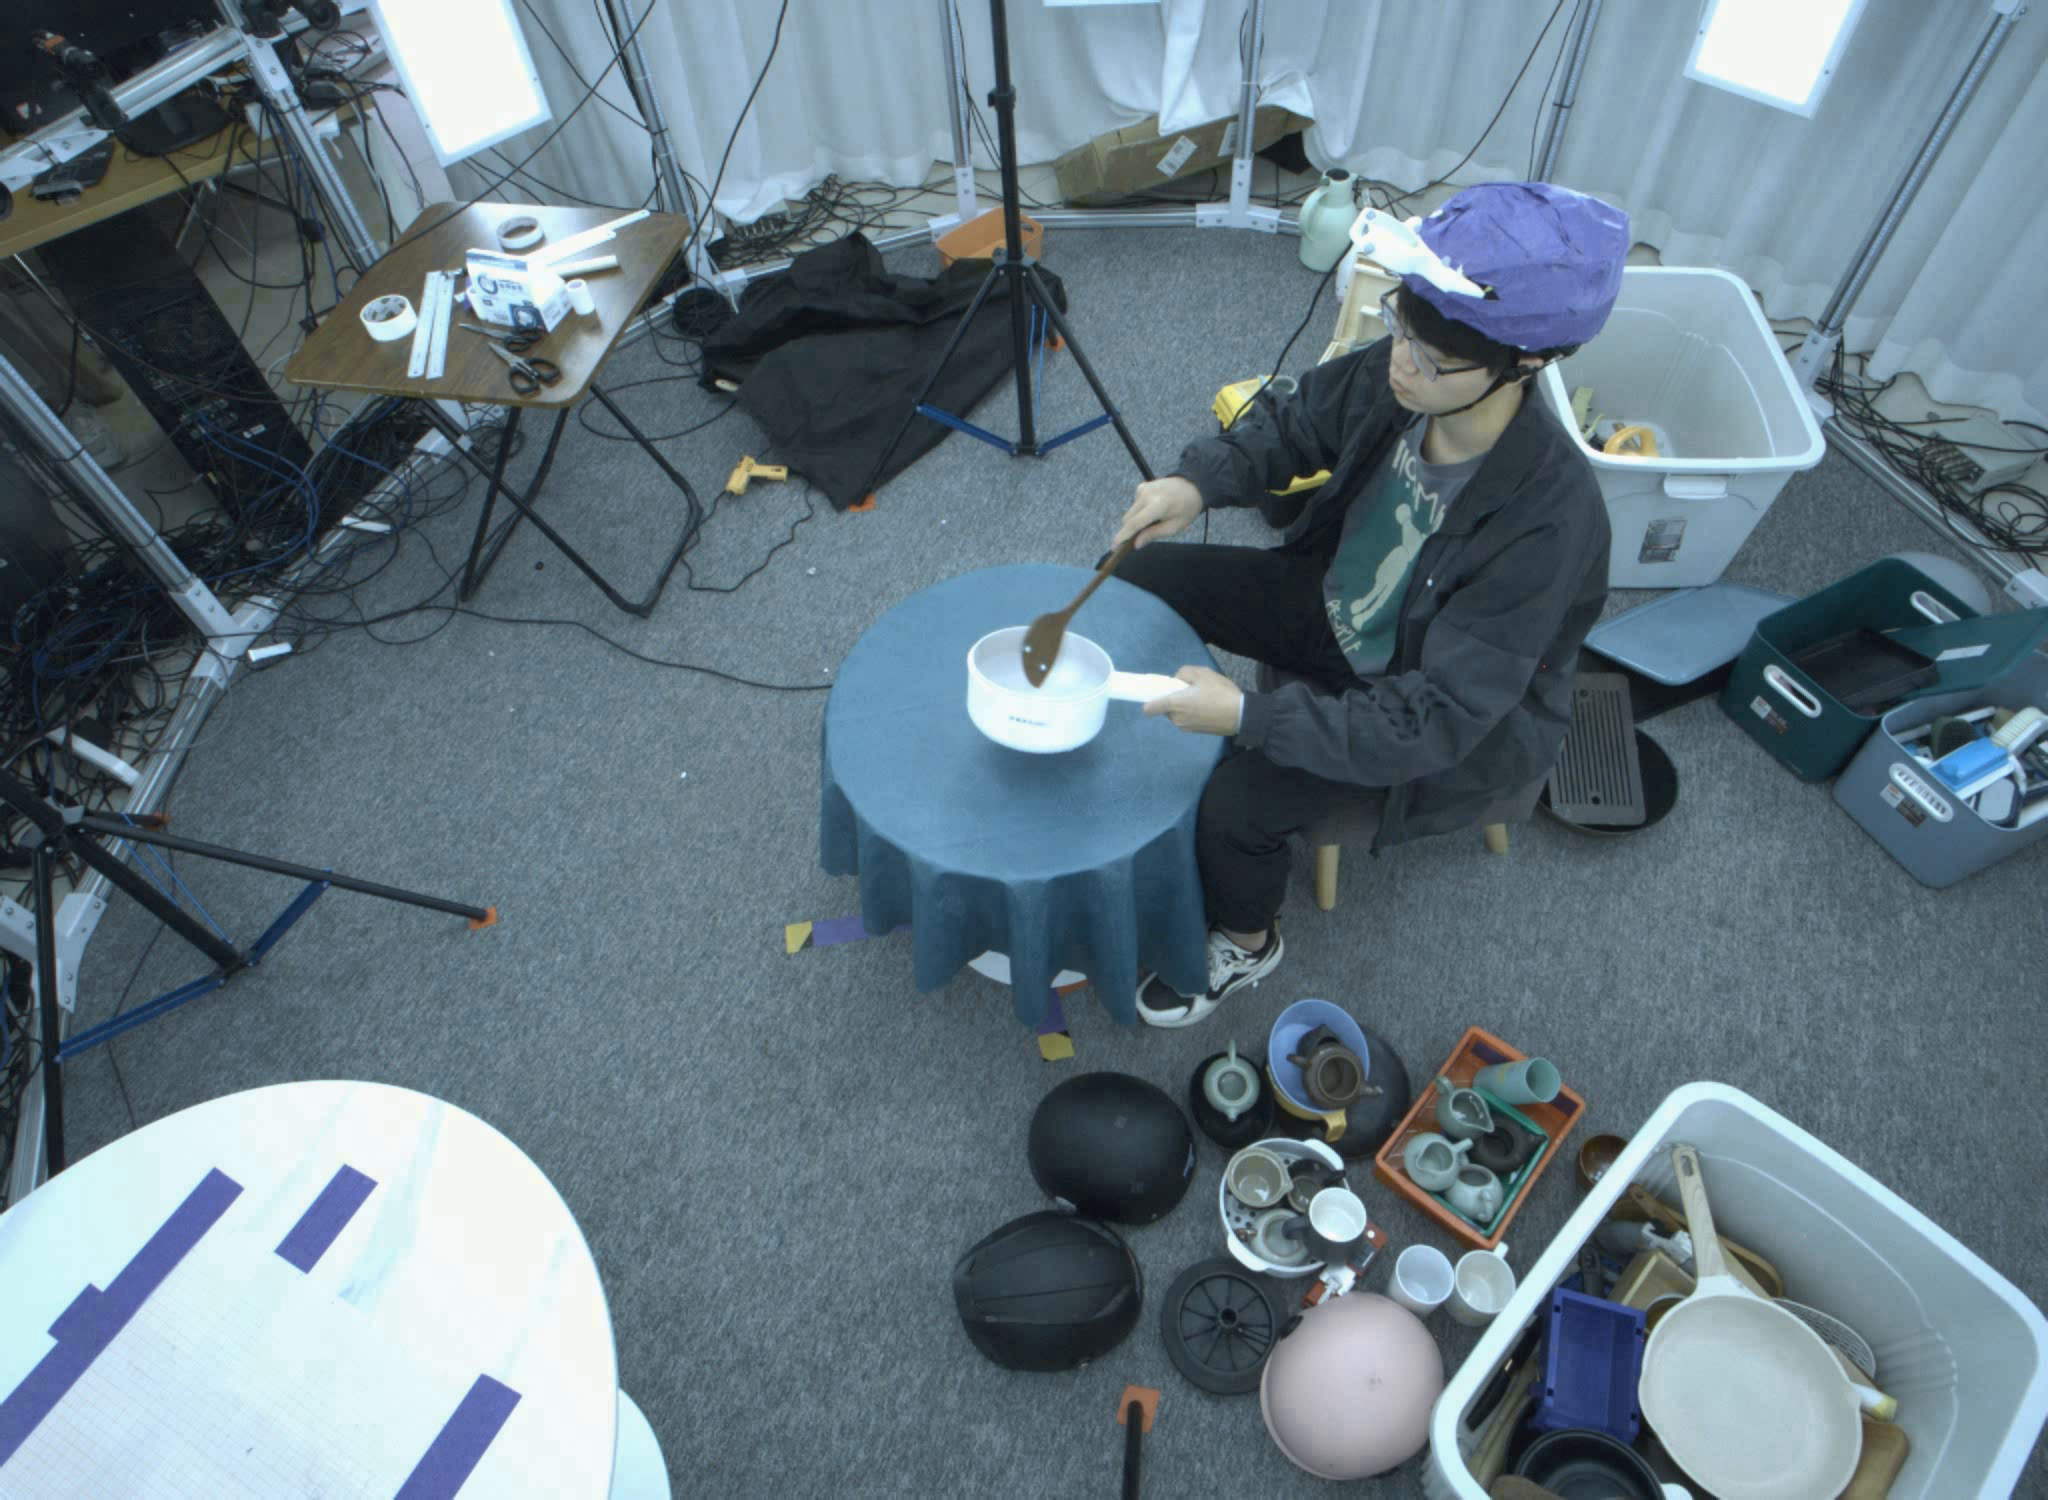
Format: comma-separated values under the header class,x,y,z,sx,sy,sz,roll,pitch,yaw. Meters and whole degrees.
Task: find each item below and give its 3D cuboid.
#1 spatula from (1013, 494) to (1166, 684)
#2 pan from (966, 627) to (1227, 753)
class,x,y,z,sx,sy,sz,roll,pitch,yaw
spatula,0.099,-0.244,1.731,0.015,0.097,0.387,23,59,31
pan,0.095,-0.067,1.691,0.355,0.102,0.200,9,34,-1
